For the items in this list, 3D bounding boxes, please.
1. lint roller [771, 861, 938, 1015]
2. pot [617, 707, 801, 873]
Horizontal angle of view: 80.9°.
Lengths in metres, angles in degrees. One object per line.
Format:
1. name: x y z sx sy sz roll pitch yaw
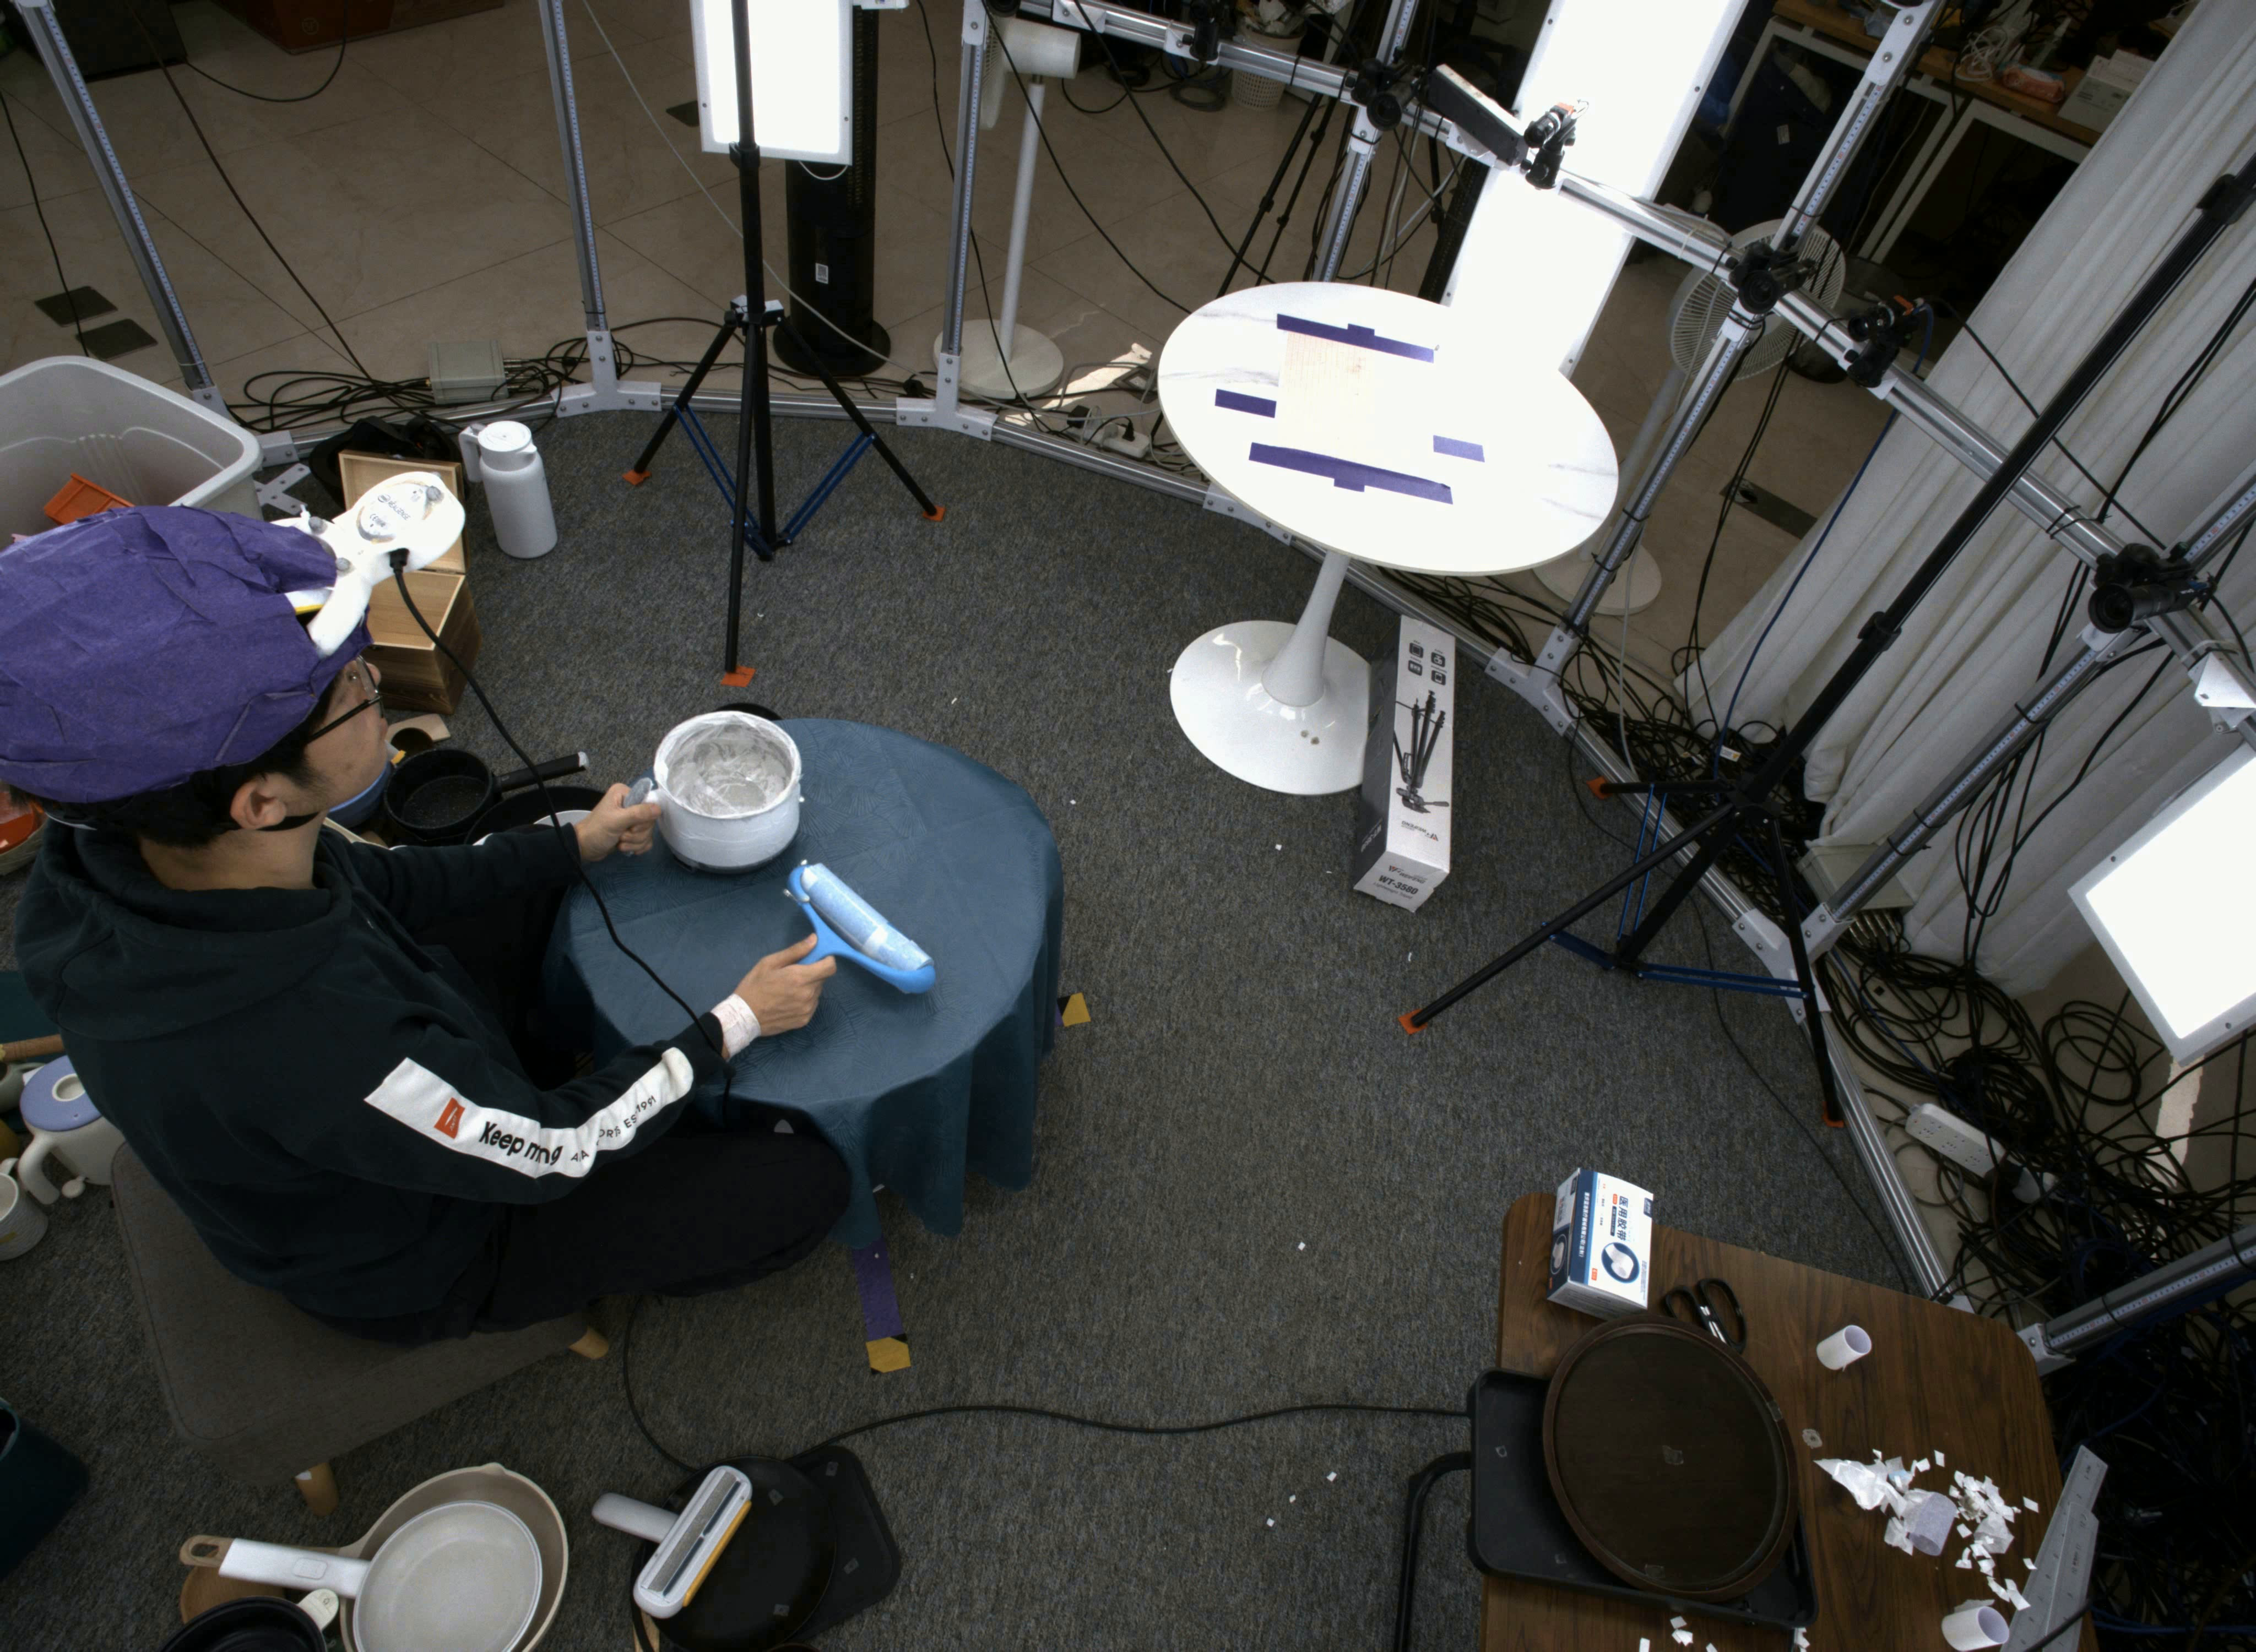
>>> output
1. lint roller: -0.358 0.152 1.564 0.226 0.069 0.180 36 51 7
2. pot: -0.531 -0.035 1.627 0.235 0.139 0.174 -17 58 -29
